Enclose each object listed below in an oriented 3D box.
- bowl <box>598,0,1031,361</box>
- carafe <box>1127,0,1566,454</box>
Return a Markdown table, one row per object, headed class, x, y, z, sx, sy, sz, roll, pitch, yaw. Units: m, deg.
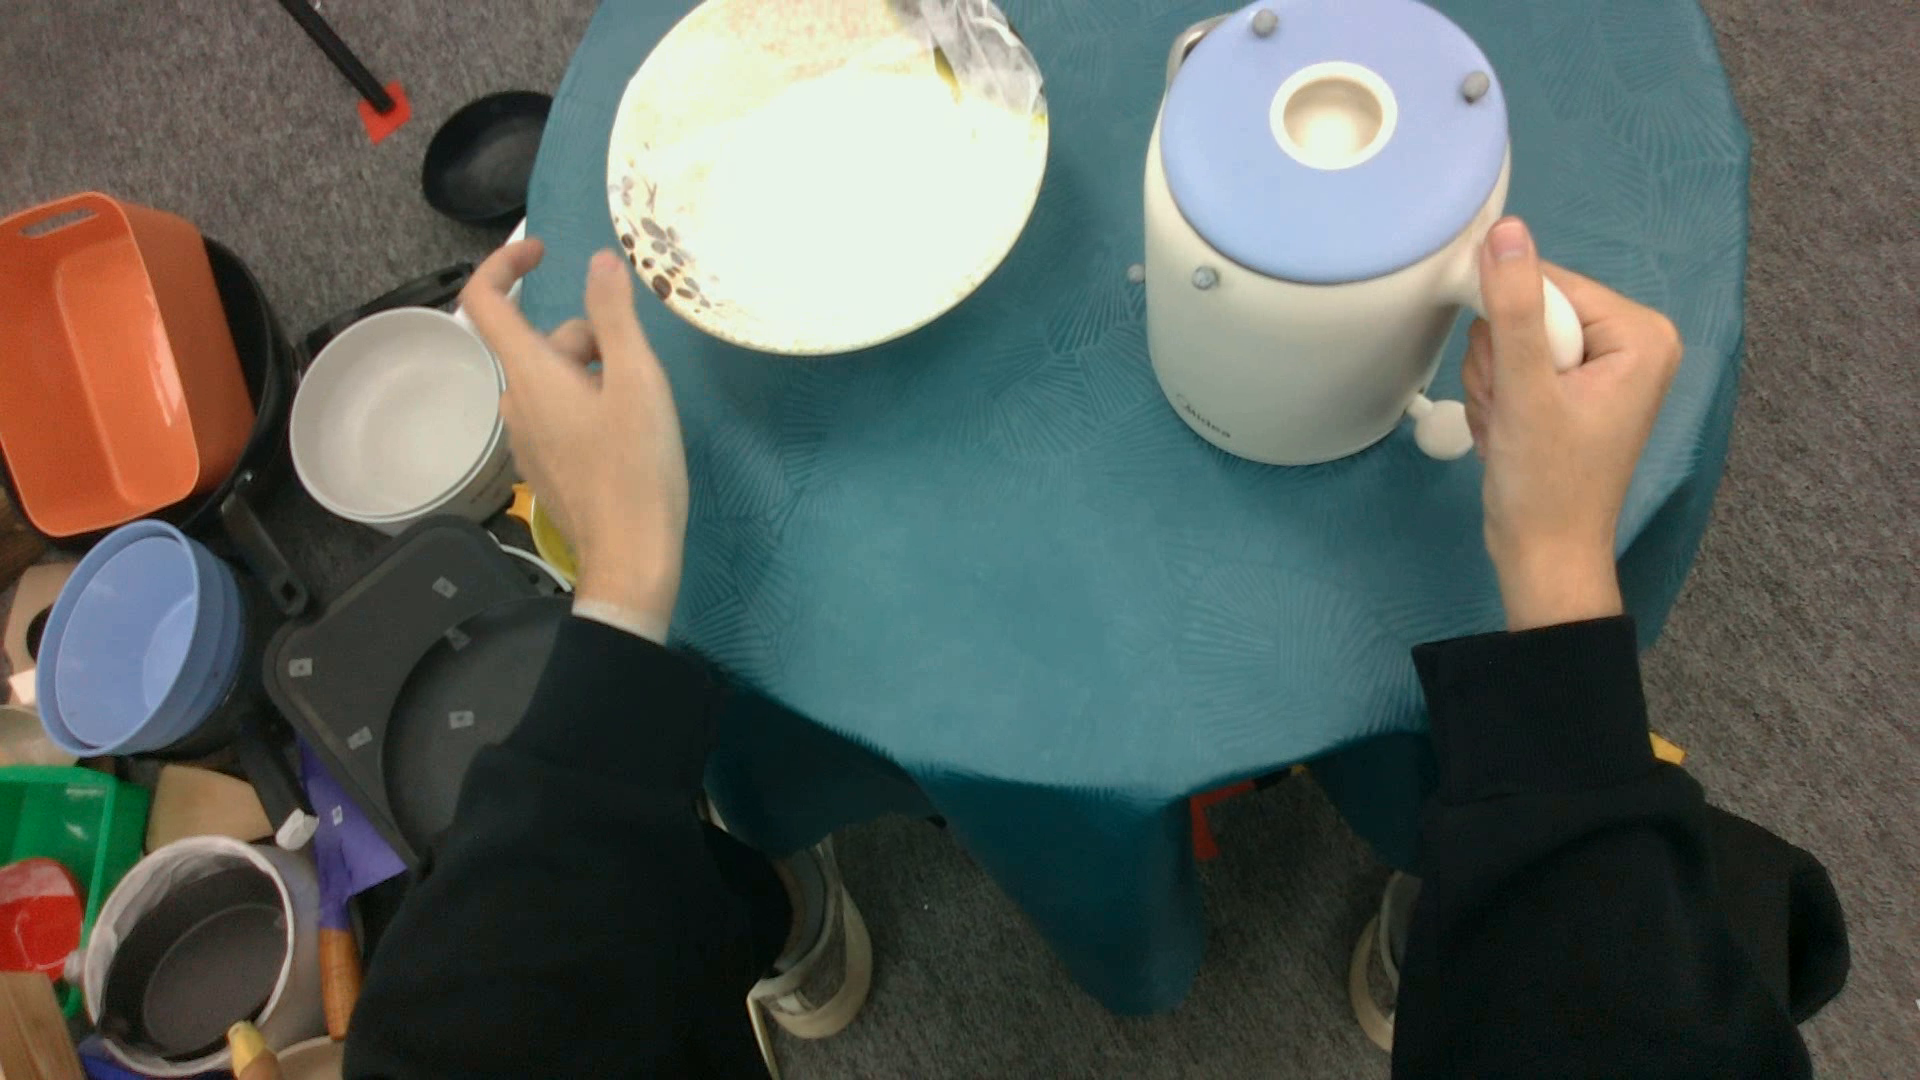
| class | x | y | z | sx | sy | sz | roll | pitch | yaw |
| --- | --- | --- | --- | --- | --- | --- | --- | --- | --- |
| bowl | -0.063 | -0.169 | 0.663 | 0.204 | 0.078 | 0.204 | -2 | 75 | 8 |
| carafe | 0.154 | -0.108 | 0.563 | 0.191 | 0.182 | 0.132 | 38 | 82 | 15 |
